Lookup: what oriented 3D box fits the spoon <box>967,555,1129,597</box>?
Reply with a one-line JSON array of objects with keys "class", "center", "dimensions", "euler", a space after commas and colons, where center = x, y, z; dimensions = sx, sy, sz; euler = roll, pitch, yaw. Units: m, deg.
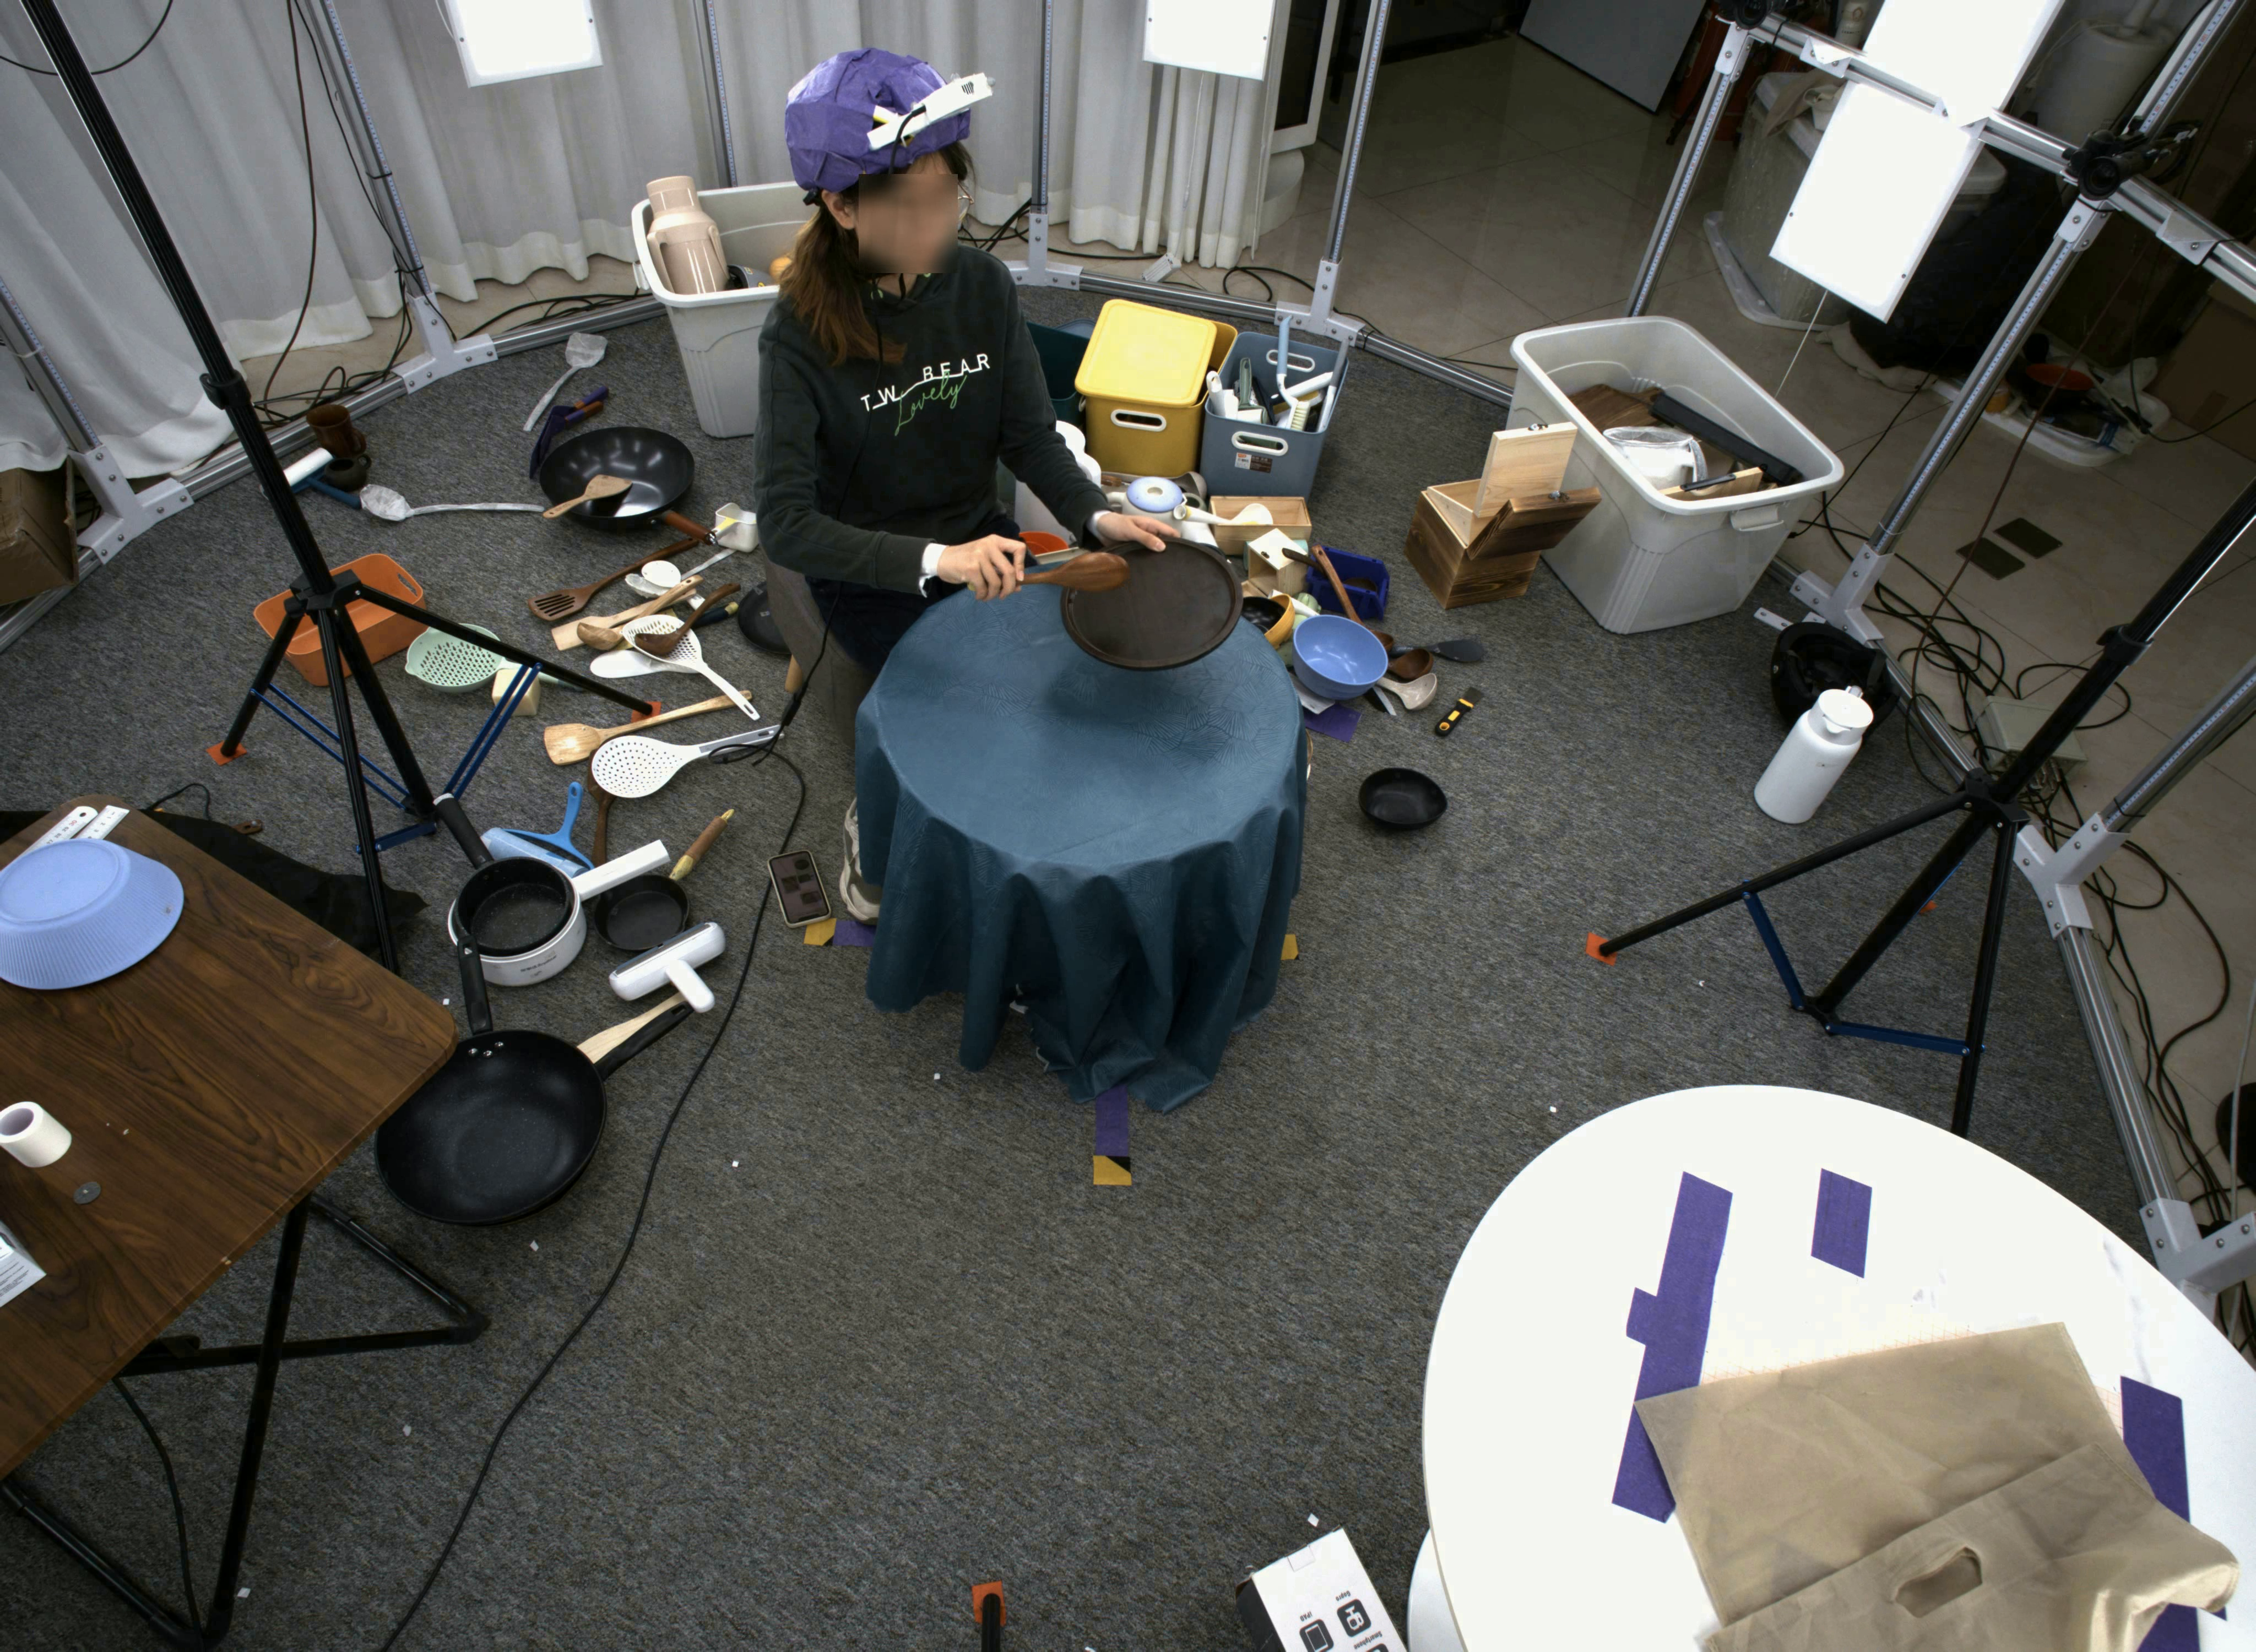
[{"class": "spoon", "center": [-0.106, -0.326, 1.706], "dimensions": [0.216, 0.074, 0.018], "euler": [-1, 56, 6]}]

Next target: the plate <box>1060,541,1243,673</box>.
[{"class": "plate", "center": [0.033, -0.306, 1.788], "dimensions": [0.255, 0.028, 0.261], "euler": [-2, 53, 3]}]
